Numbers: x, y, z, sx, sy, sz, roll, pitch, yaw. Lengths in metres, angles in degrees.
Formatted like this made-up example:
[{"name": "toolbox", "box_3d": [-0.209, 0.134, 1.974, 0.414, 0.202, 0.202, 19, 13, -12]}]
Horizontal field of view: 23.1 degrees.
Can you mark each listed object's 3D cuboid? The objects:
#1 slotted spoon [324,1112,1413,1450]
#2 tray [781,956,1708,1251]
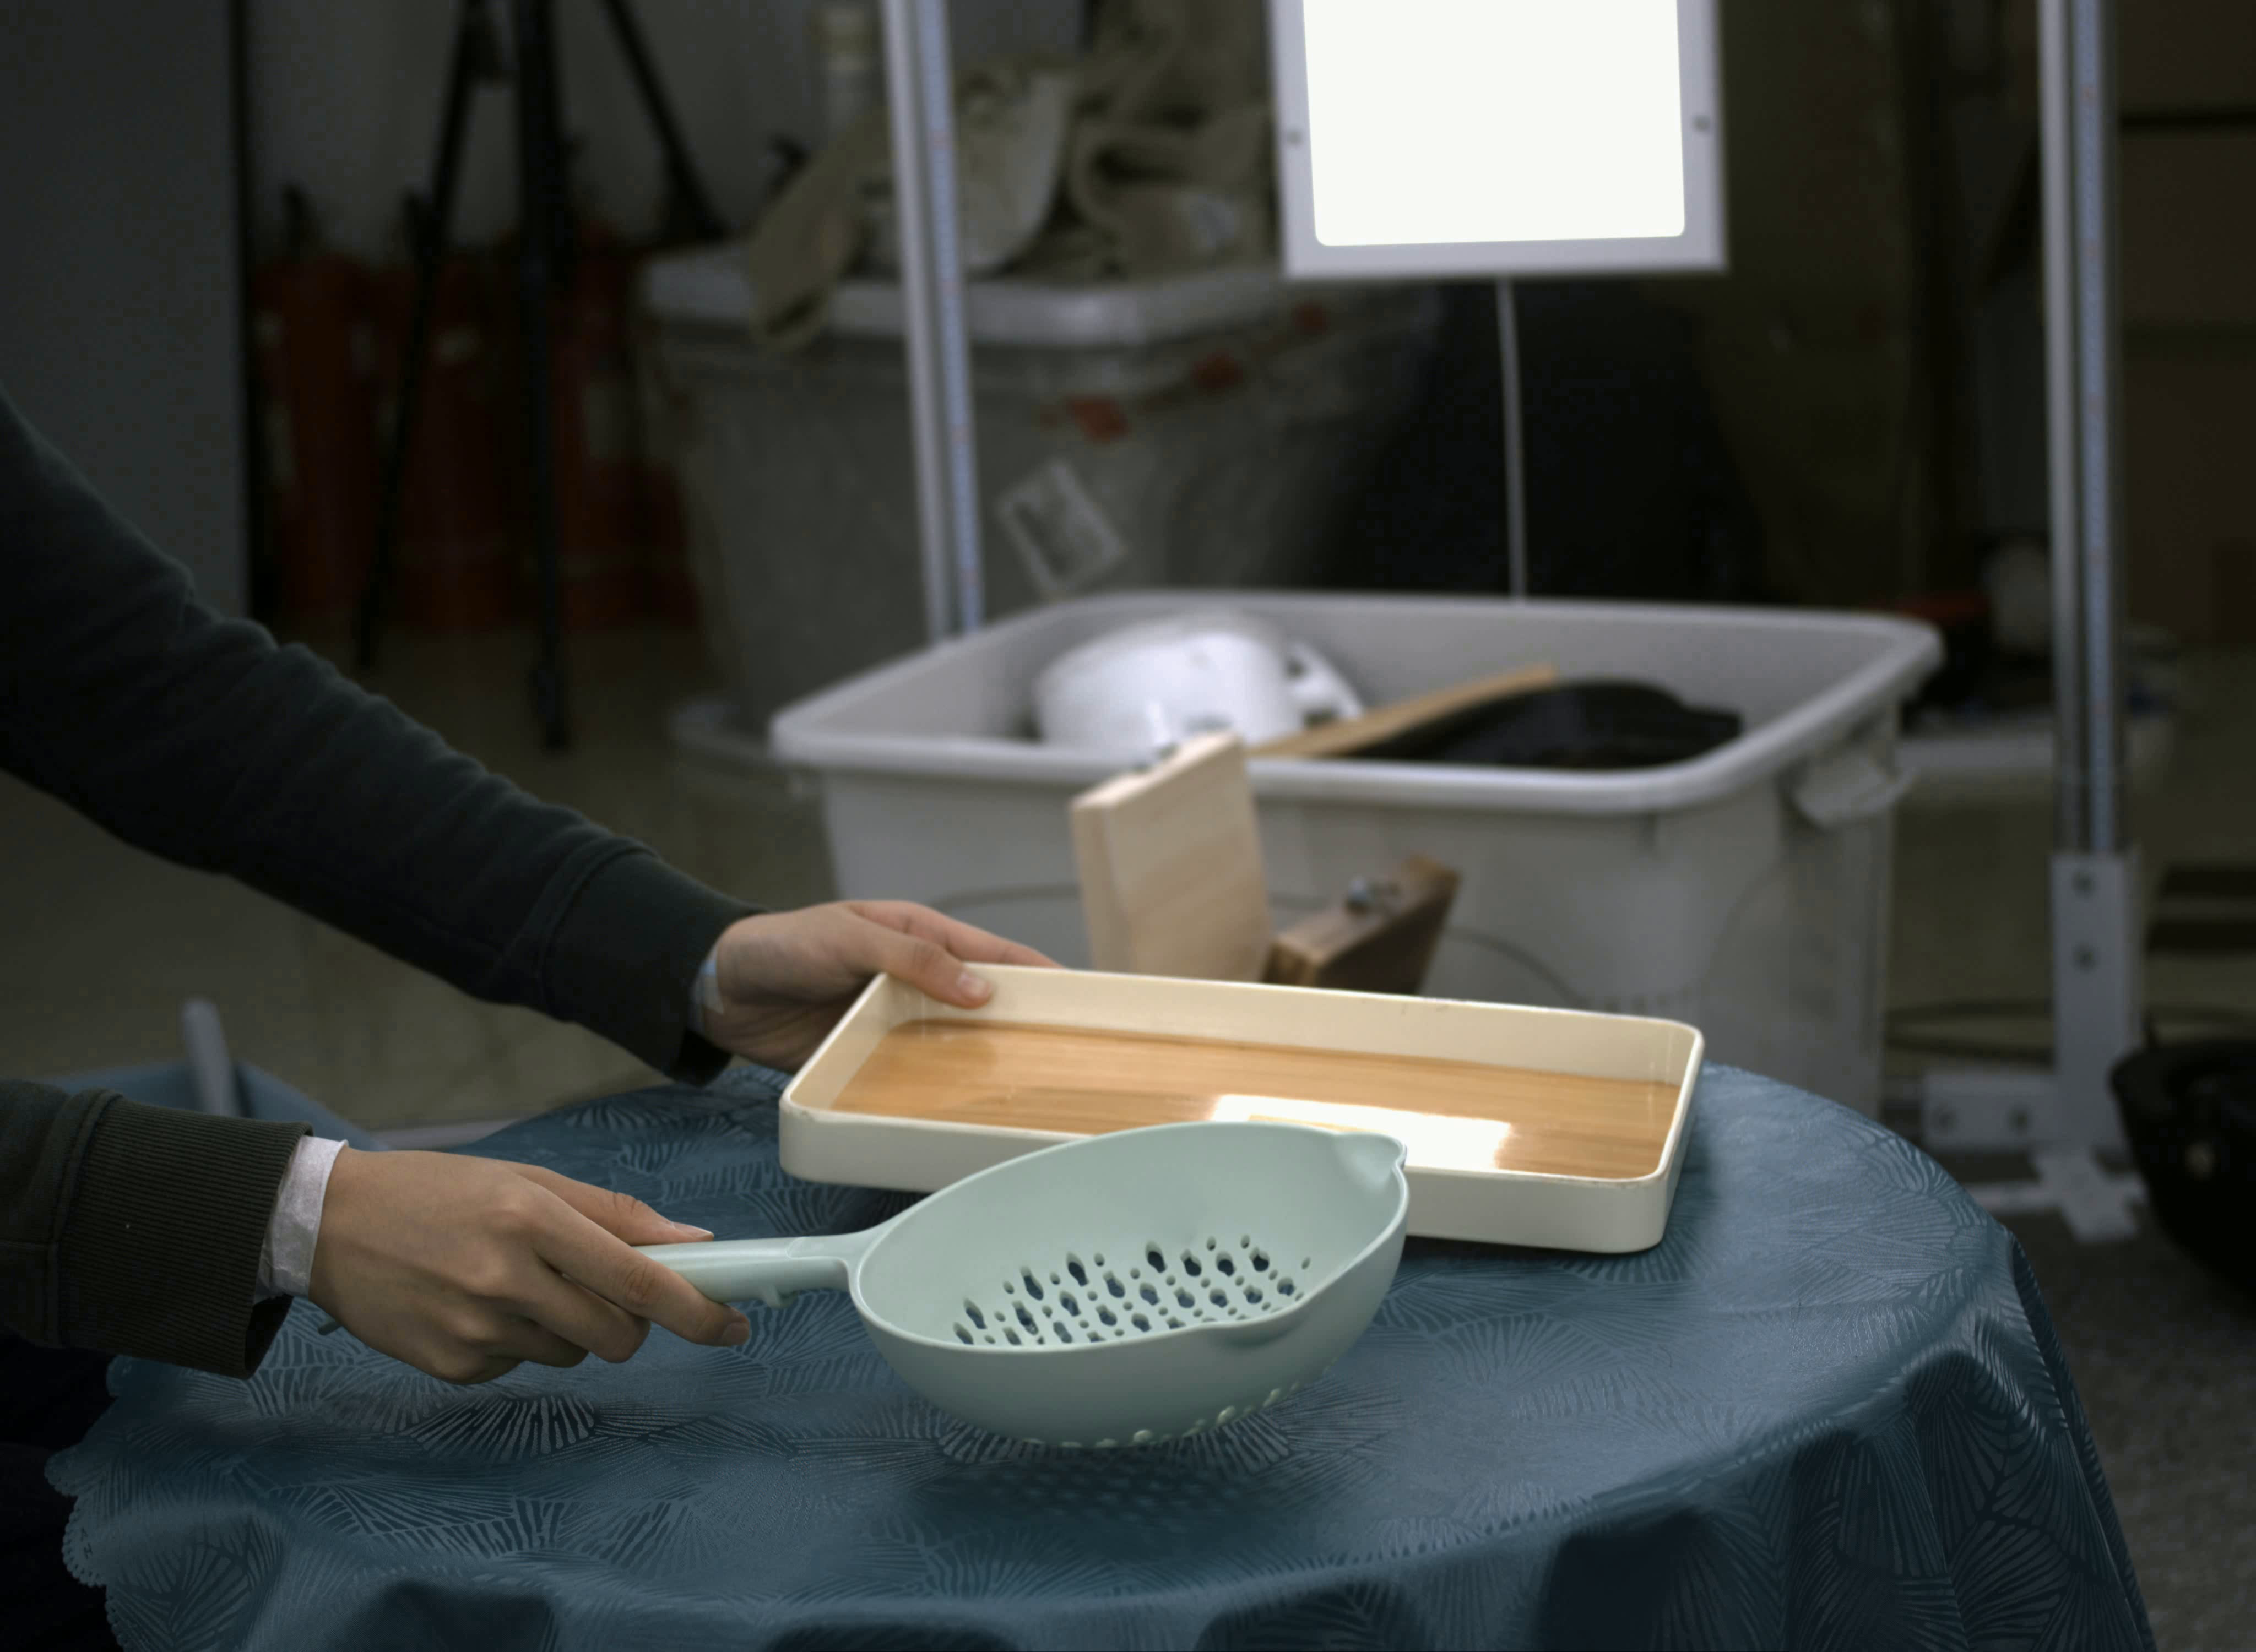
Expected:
[{"name": "slotted spoon", "box_3d": [-0.088, 0.138, 1.688, 0.363, 0.076, 0.166, 4, 21, 20]}, {"name": "tray", "box_3d": [0.044, 0.094, 1.894, 0.302, 0.027, 0.189, 5, 15, 12]}]
